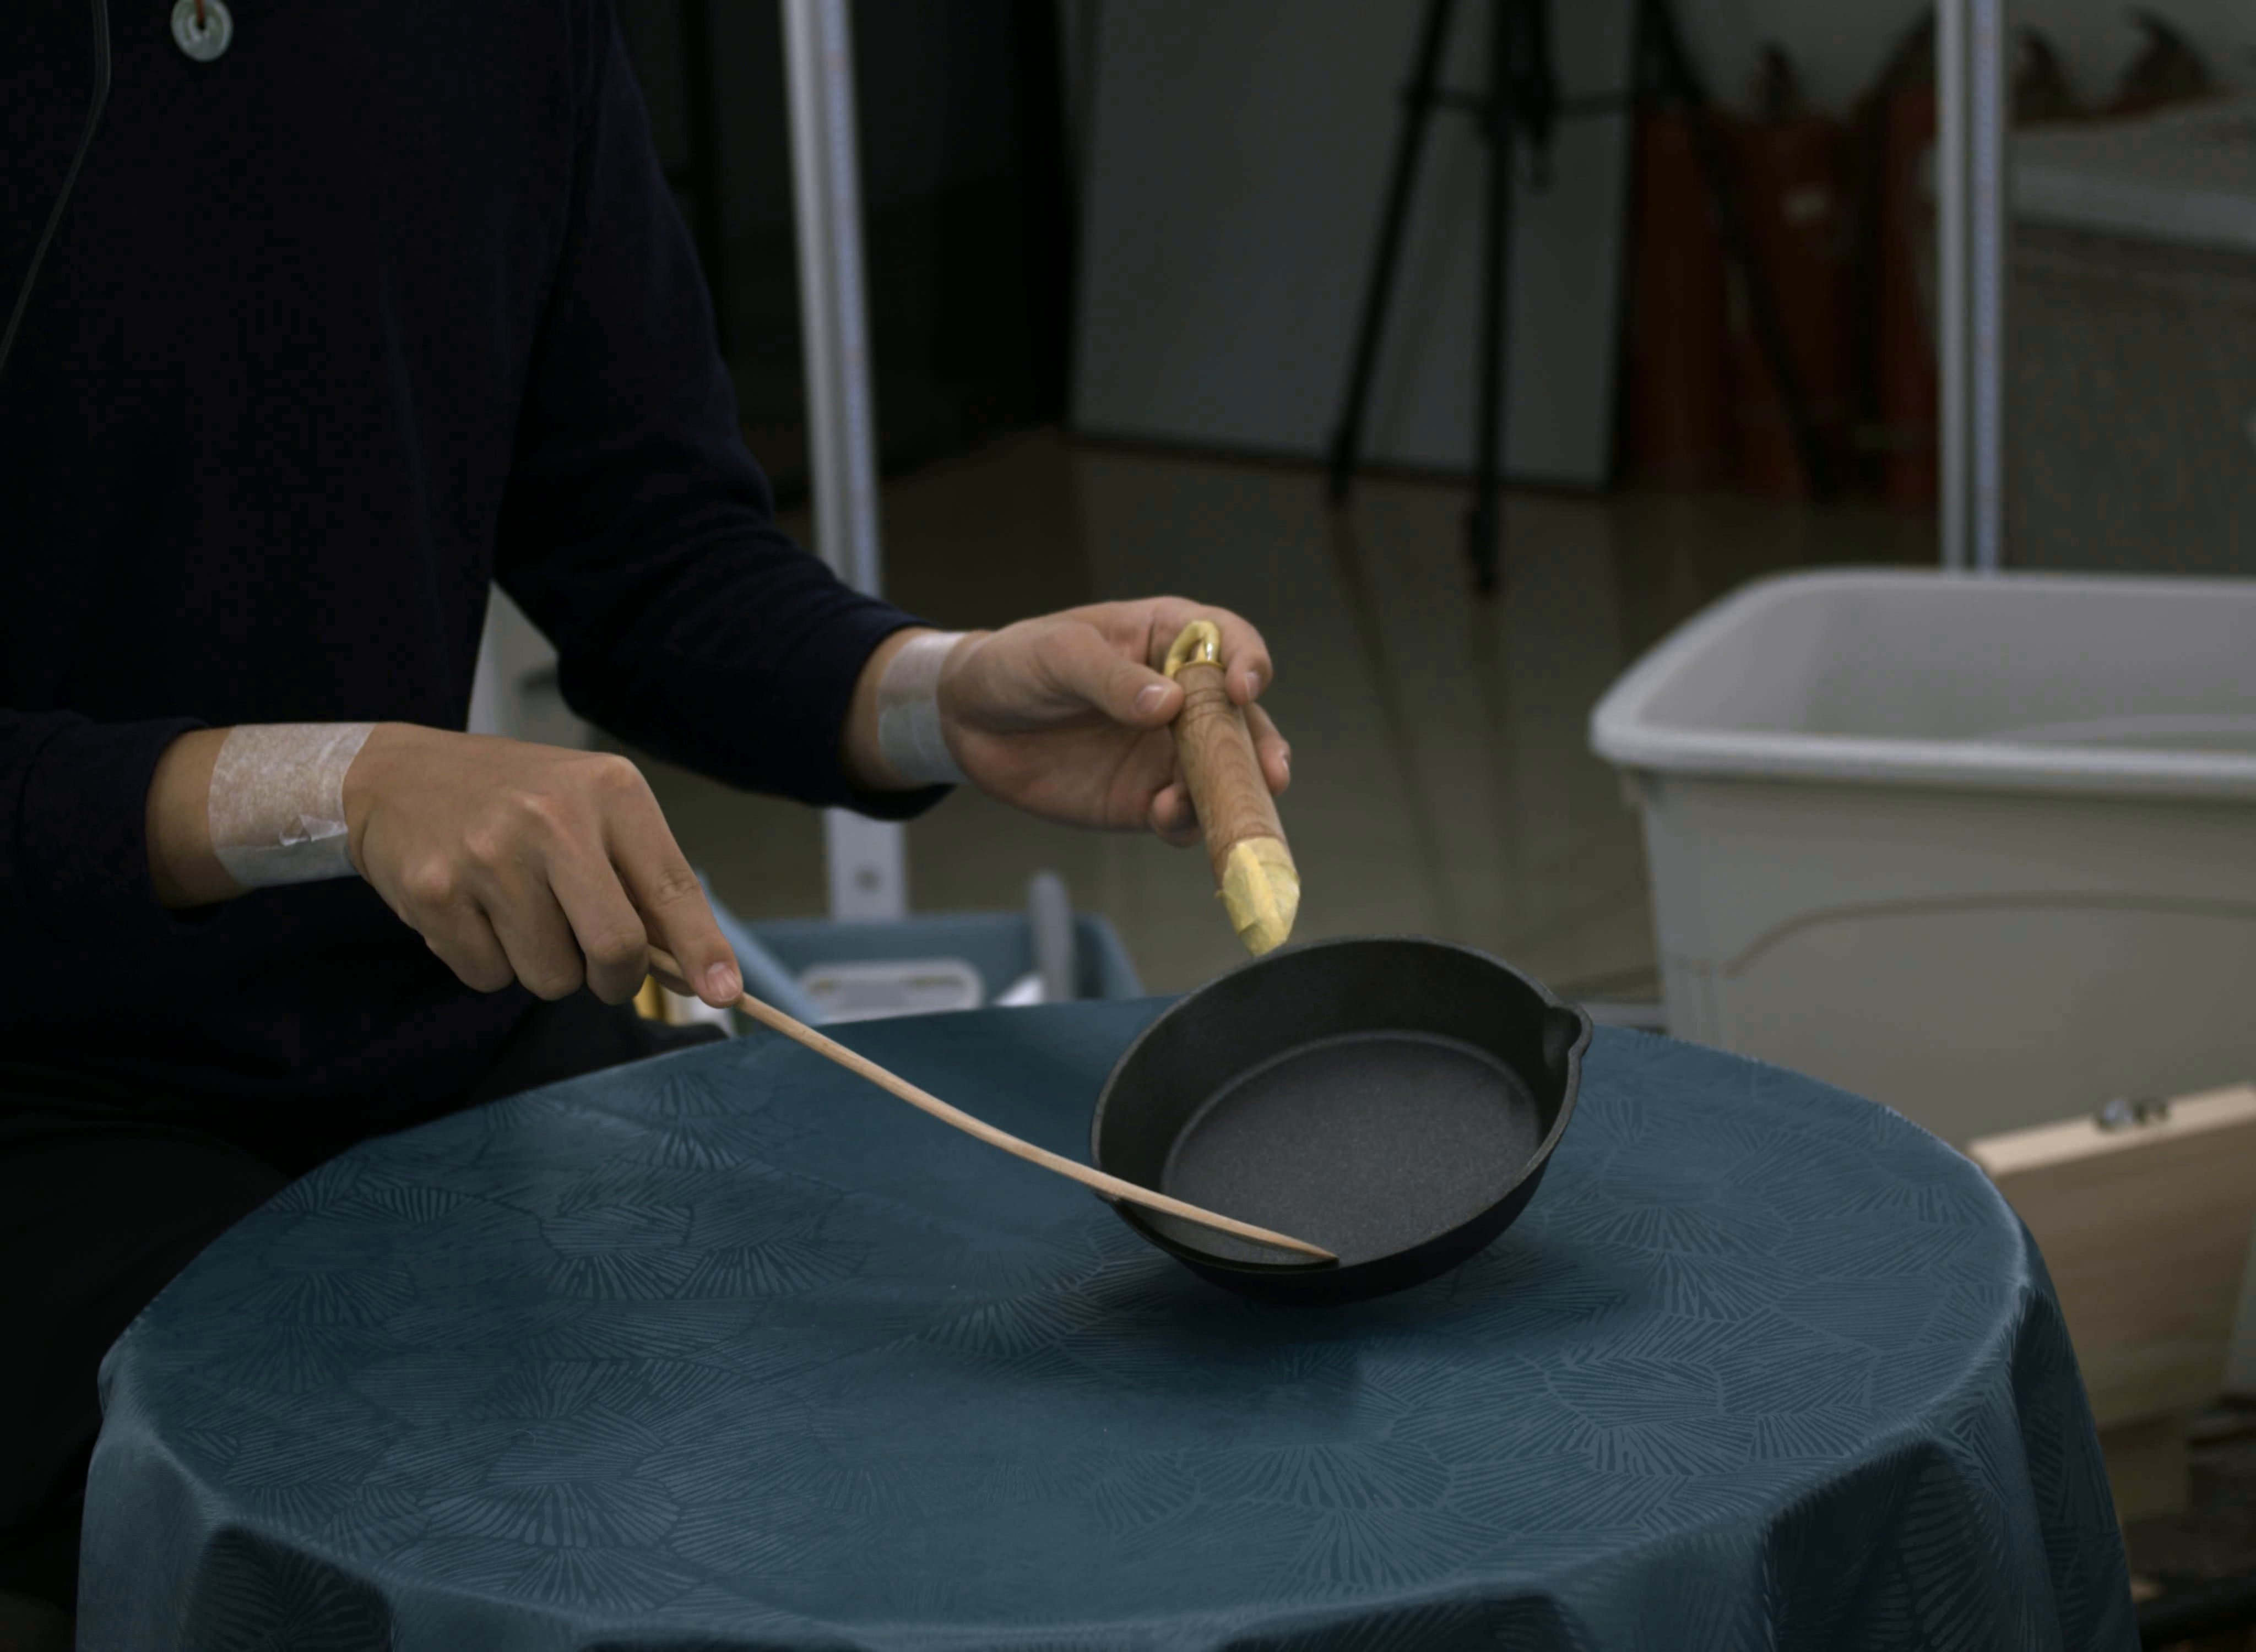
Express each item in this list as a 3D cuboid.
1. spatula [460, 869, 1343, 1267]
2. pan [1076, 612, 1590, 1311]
[{"bbox_3d":[-0.073,0.074,1.669,0.329,0.016,0.079,24,-4,24],"label":"spatula"},{"bbox_3d":[0.052,0.039,1.748,0.167,0.049,0.327,-17,38,2],"label":"pan"}]
